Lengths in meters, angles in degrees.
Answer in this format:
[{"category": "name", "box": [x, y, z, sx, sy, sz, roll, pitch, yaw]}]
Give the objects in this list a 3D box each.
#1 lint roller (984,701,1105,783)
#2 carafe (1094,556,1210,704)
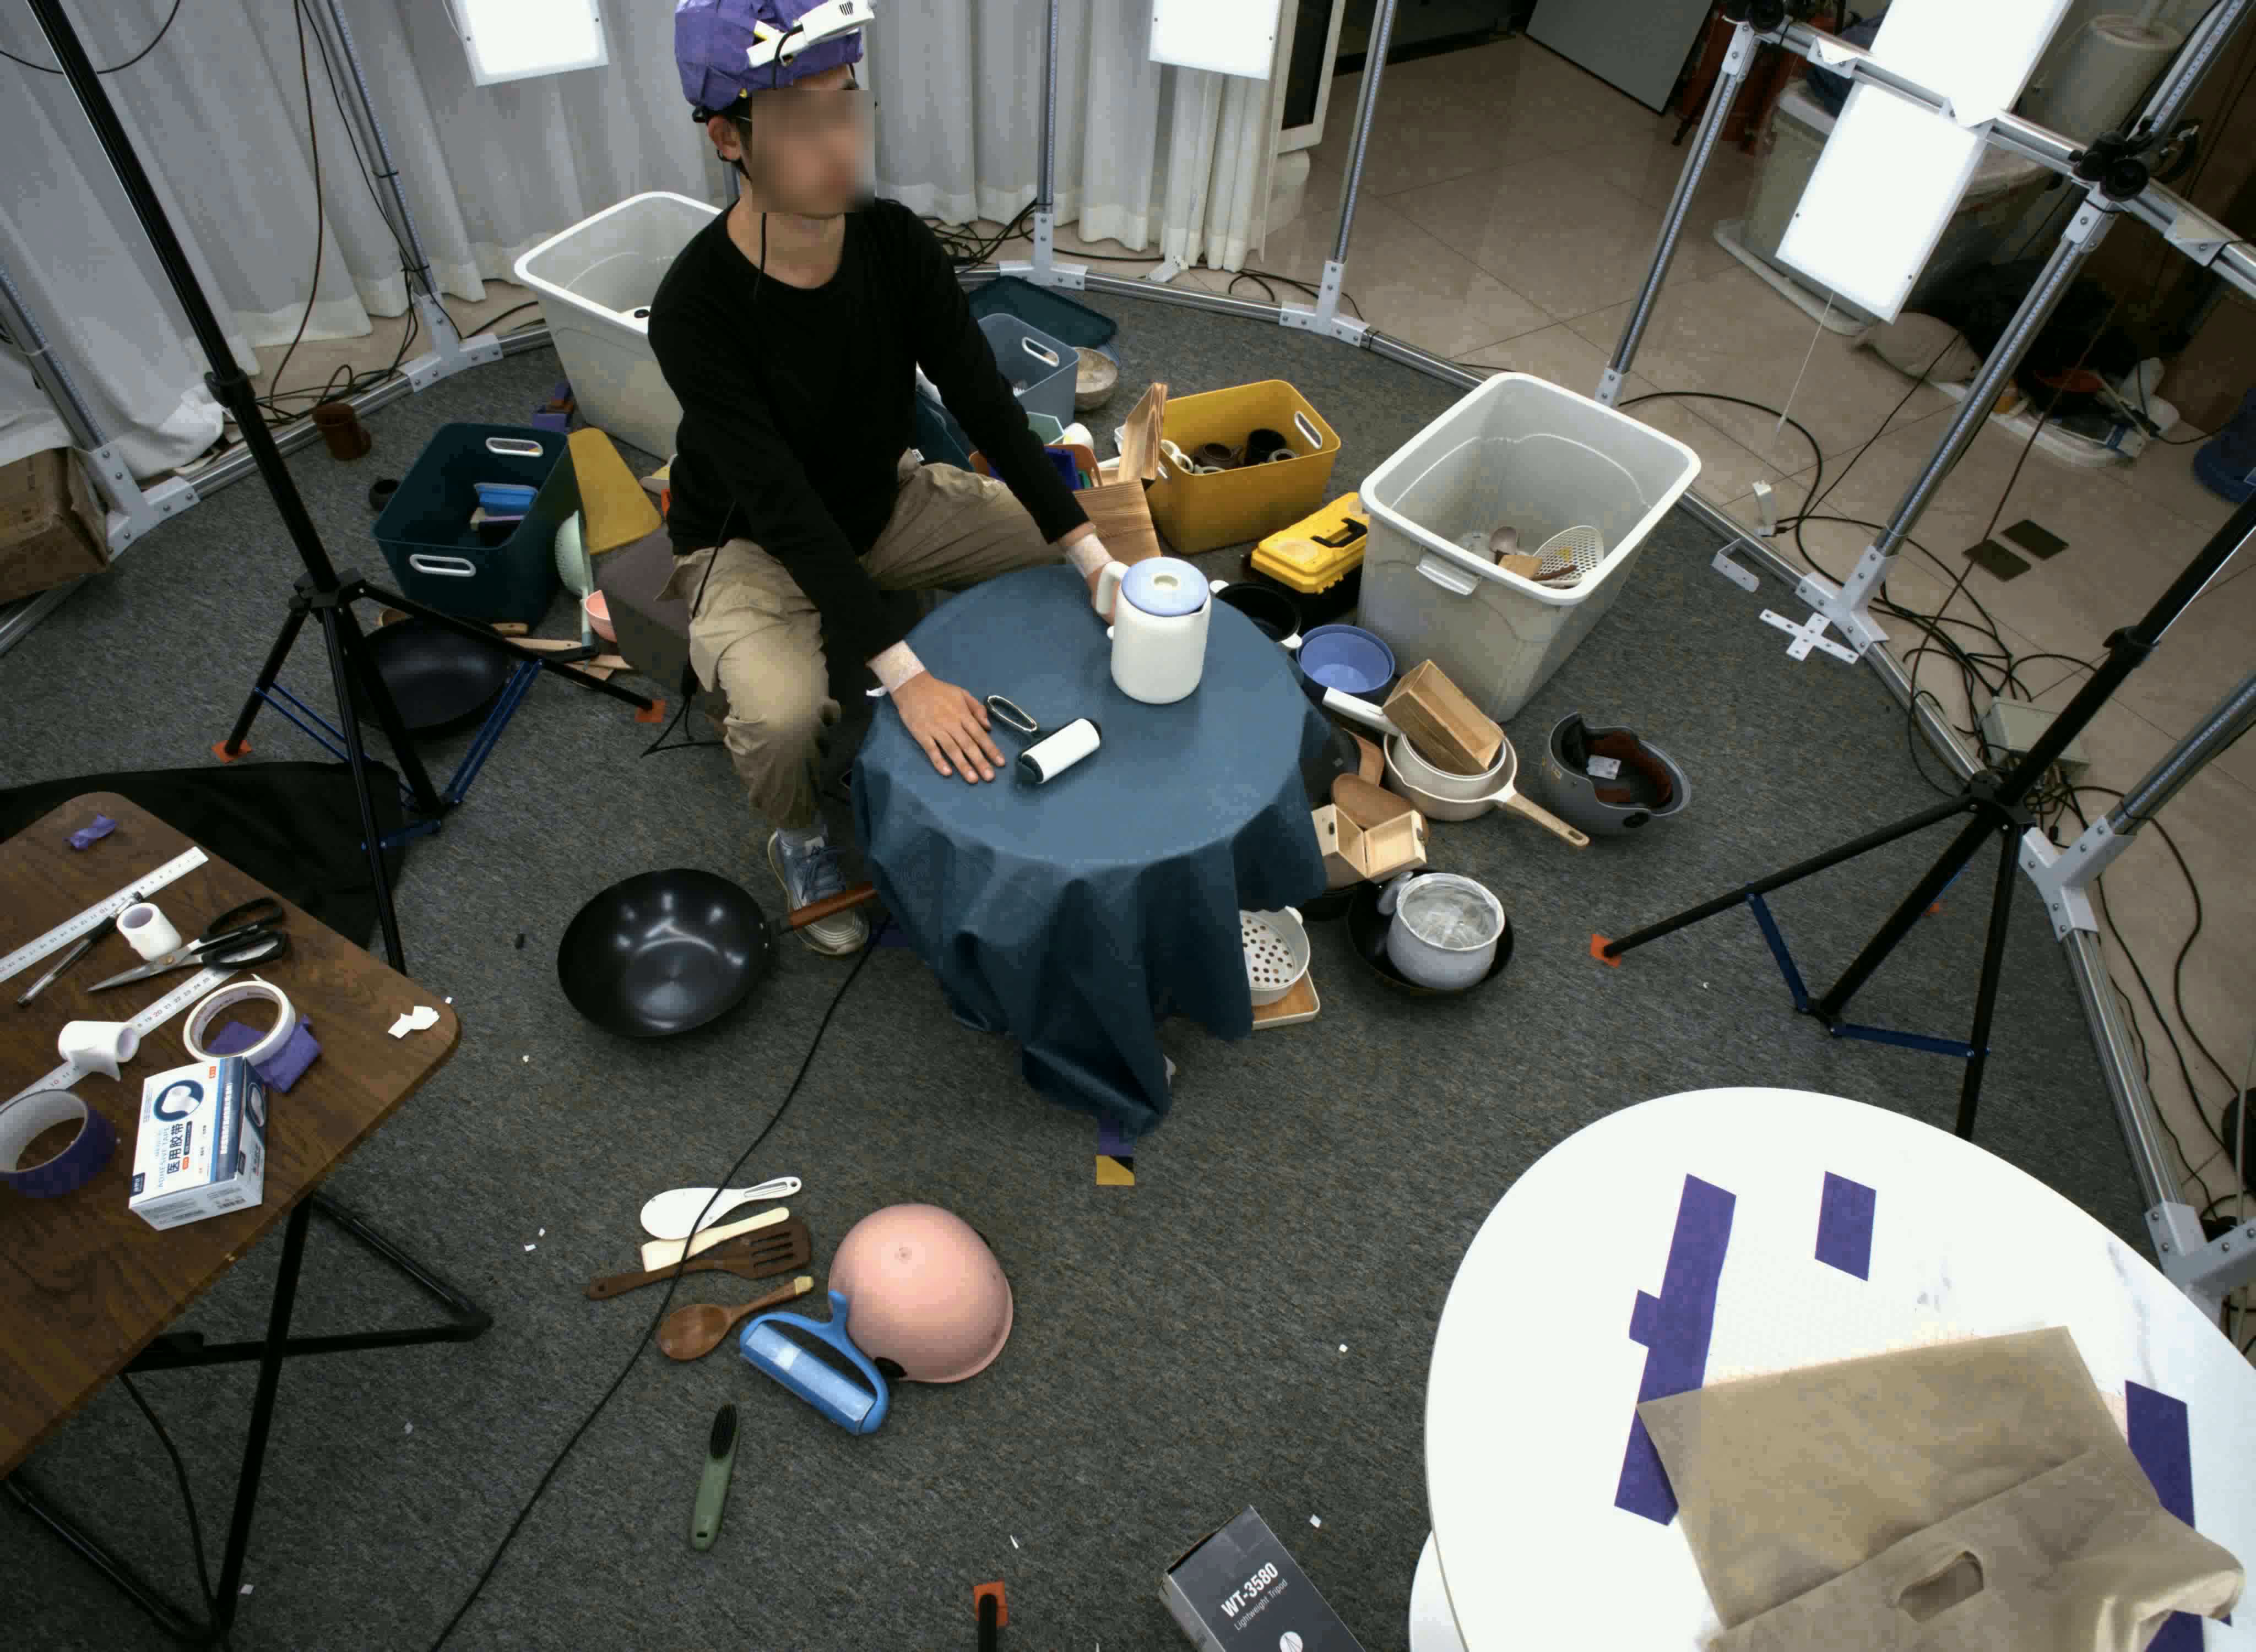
[{"category": "lint roller", "box": [-0.137, -0.138, 1.754, 0.135, 0.047, 0.183, -34, 56, -28]}, {"category": "carafe", "box": [0.027, -0.286, 1.809, 0.194, 0.178, 0.133, 34, 55, 26]}]
